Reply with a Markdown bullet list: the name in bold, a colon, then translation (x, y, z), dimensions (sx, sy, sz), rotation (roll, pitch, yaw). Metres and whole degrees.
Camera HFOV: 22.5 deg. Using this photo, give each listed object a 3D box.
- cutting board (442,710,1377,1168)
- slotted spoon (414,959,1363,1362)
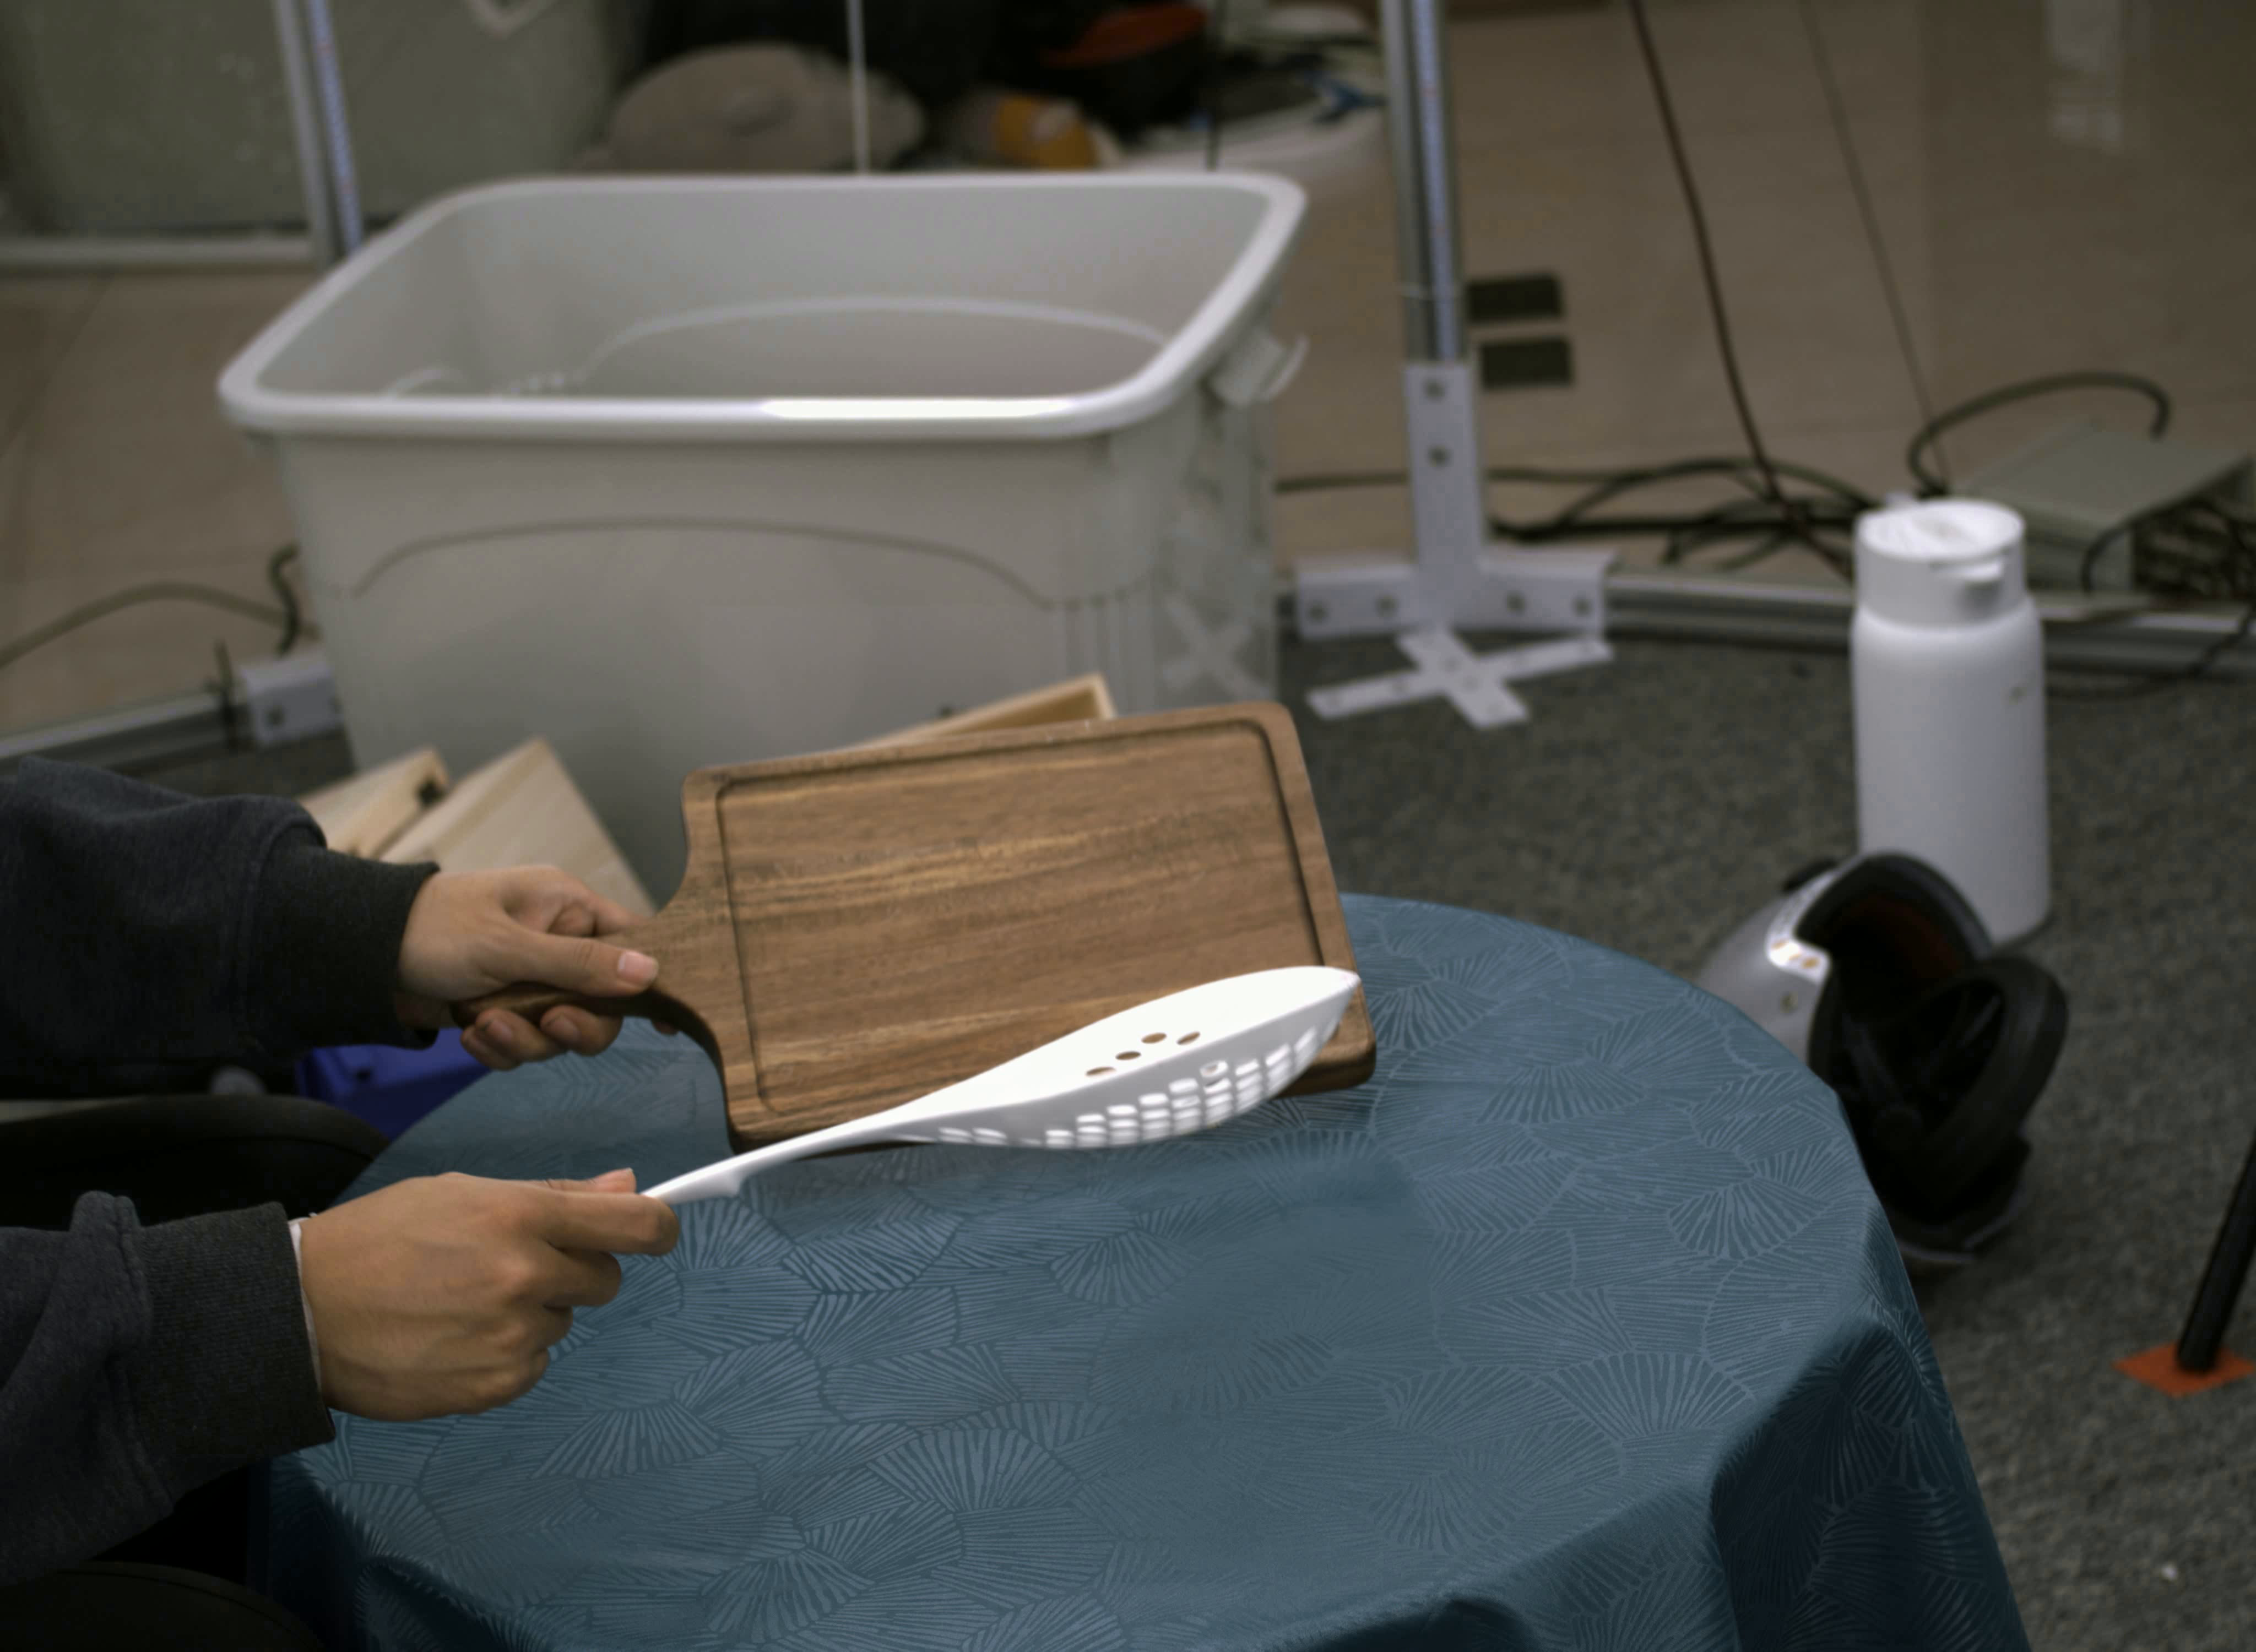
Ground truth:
- **cutting board**: translation (-0.092, 0.046, 2.213), dimensions (0.351, 0.023, 0.197), rotation (-7, 47, -6)
- **slotted spoon**: translation (-0.082, 0.113, 1.945), dimensions (0.347, 0.050, 0.136), rotation (-14, 7, -10)
